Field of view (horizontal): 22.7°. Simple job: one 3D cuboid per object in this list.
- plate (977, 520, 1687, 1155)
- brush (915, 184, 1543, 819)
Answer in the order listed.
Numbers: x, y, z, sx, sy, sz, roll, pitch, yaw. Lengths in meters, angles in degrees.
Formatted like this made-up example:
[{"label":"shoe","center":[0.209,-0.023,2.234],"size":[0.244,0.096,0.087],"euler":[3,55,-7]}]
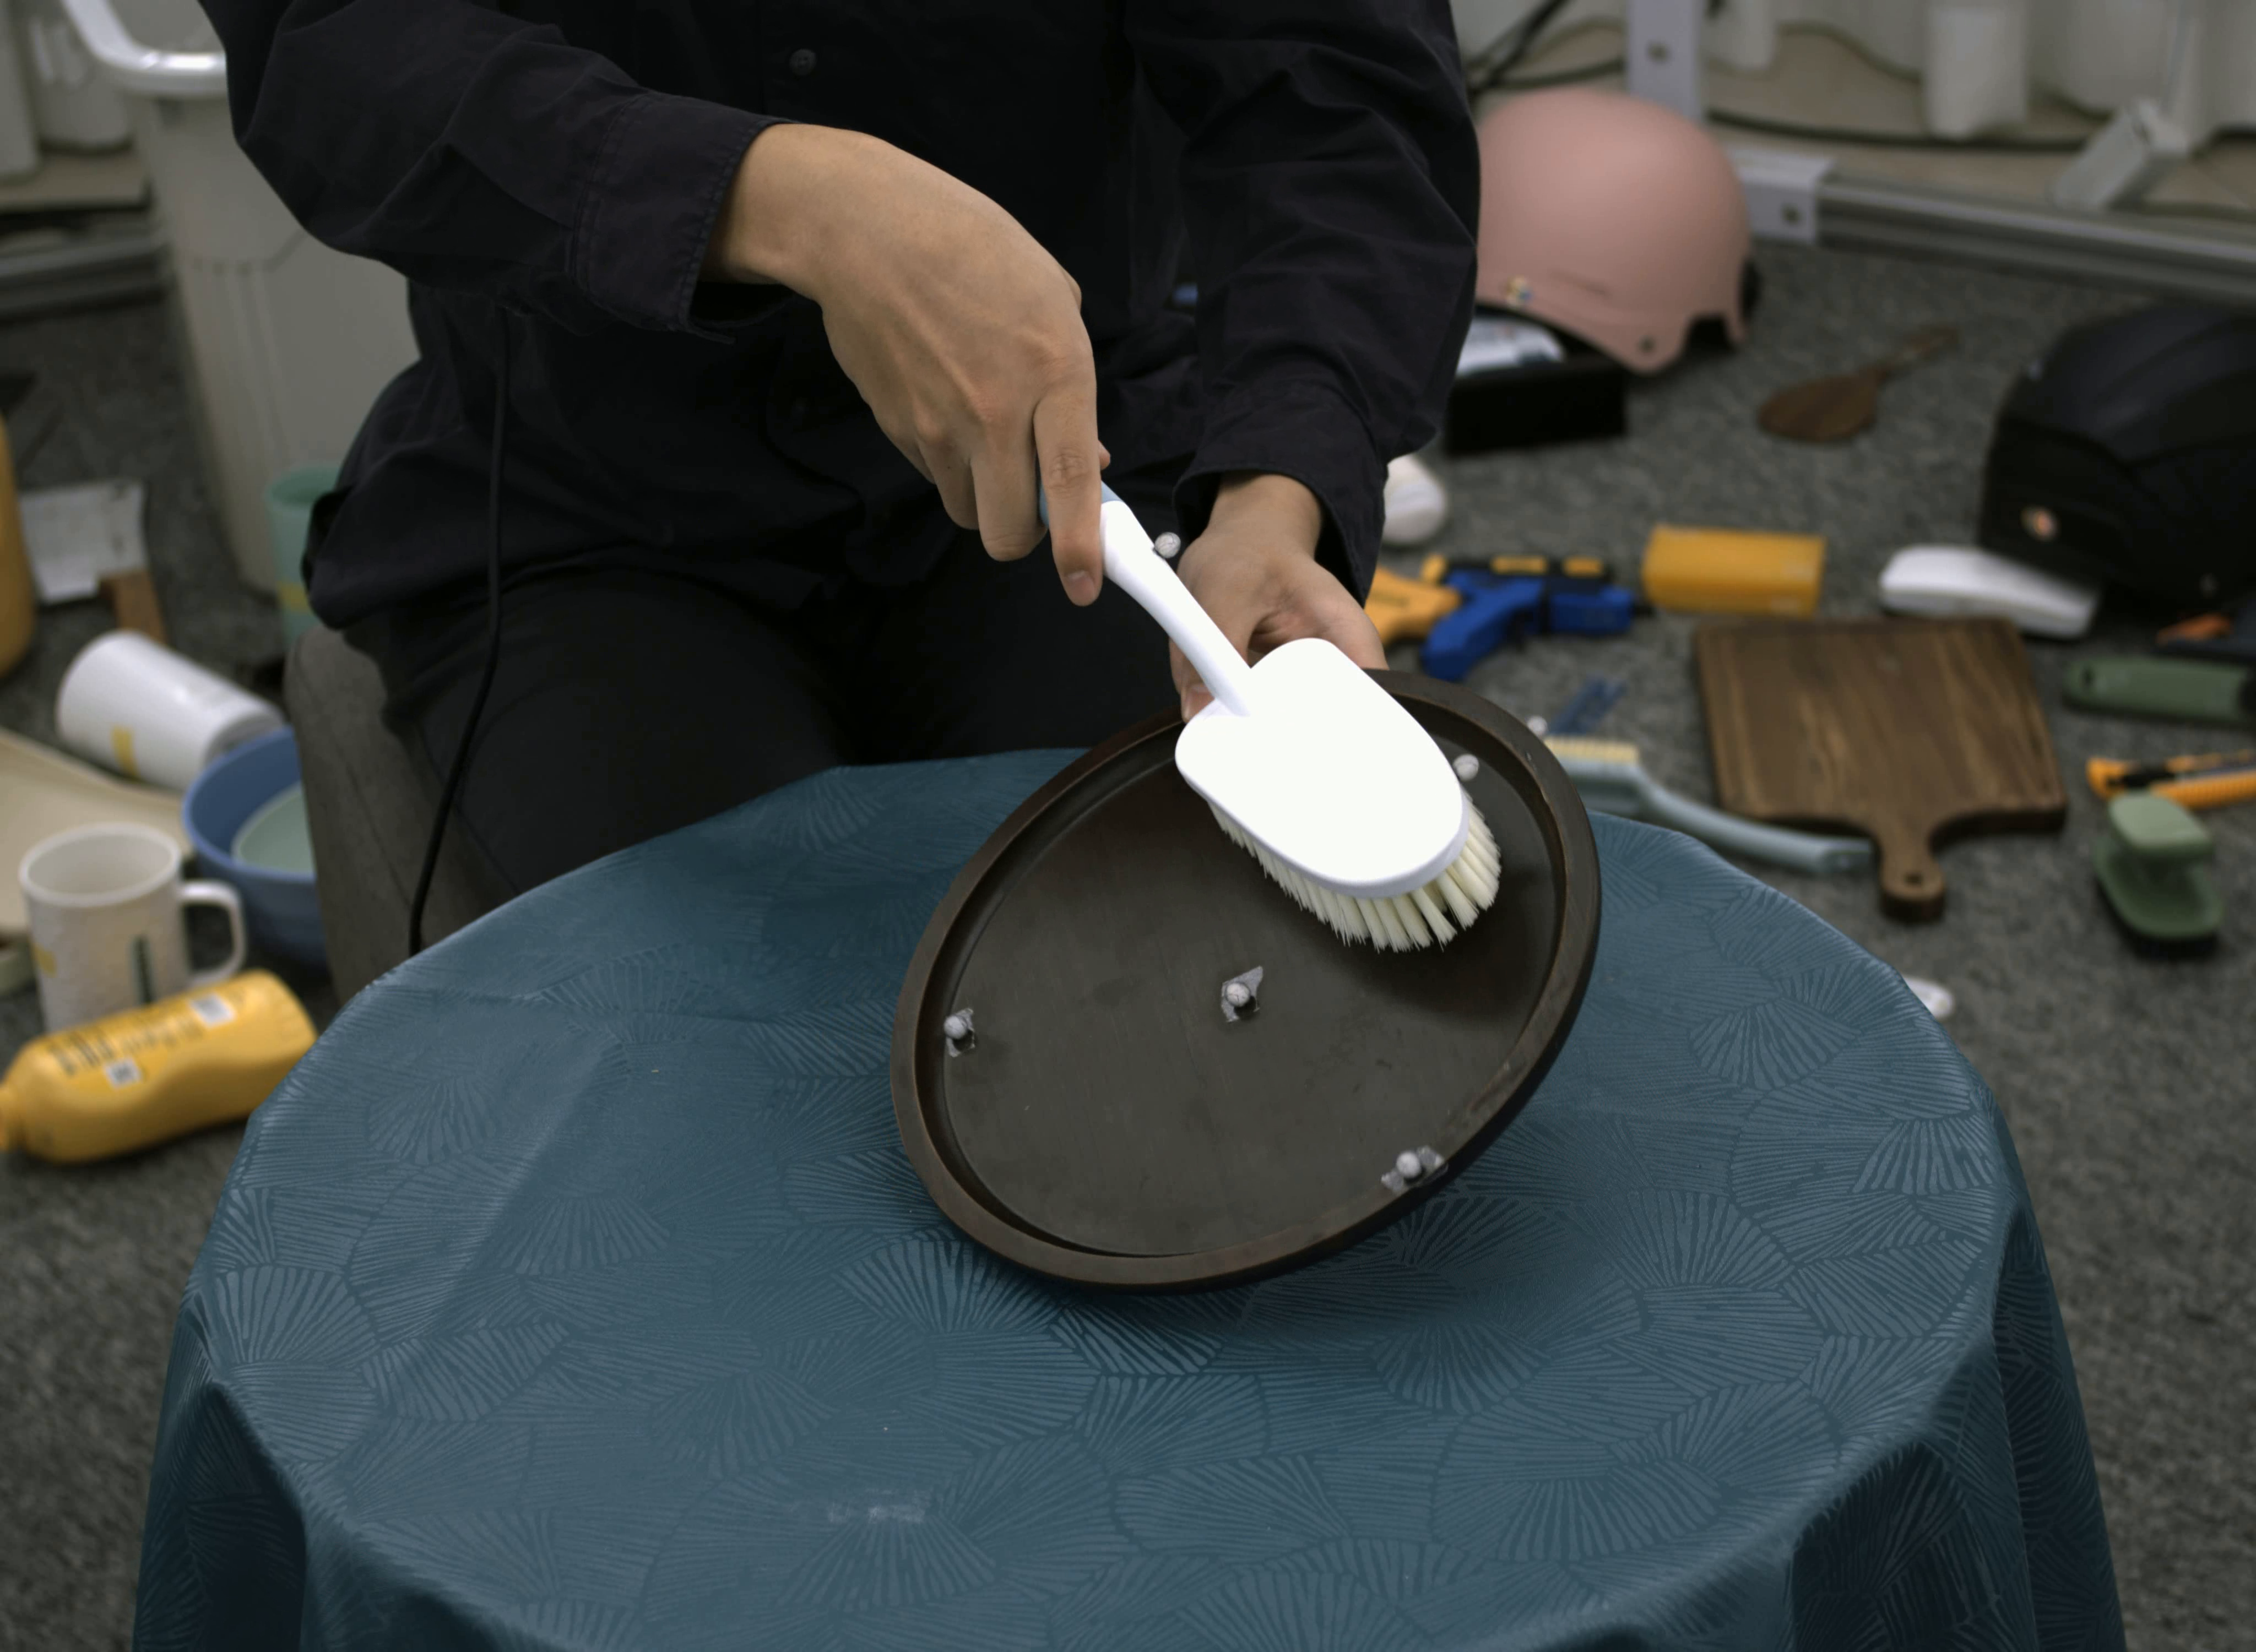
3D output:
[{"label":"plate","center":[0.068,0.005,1.873],"size":[0.252,0.029,0.260],"euler":[-16,45,18]},{"label":"brush","center":[0.036,-0.110,1.935],"size":[0.084,0.083,0.328],"euler":[-15,47,-37]}]
